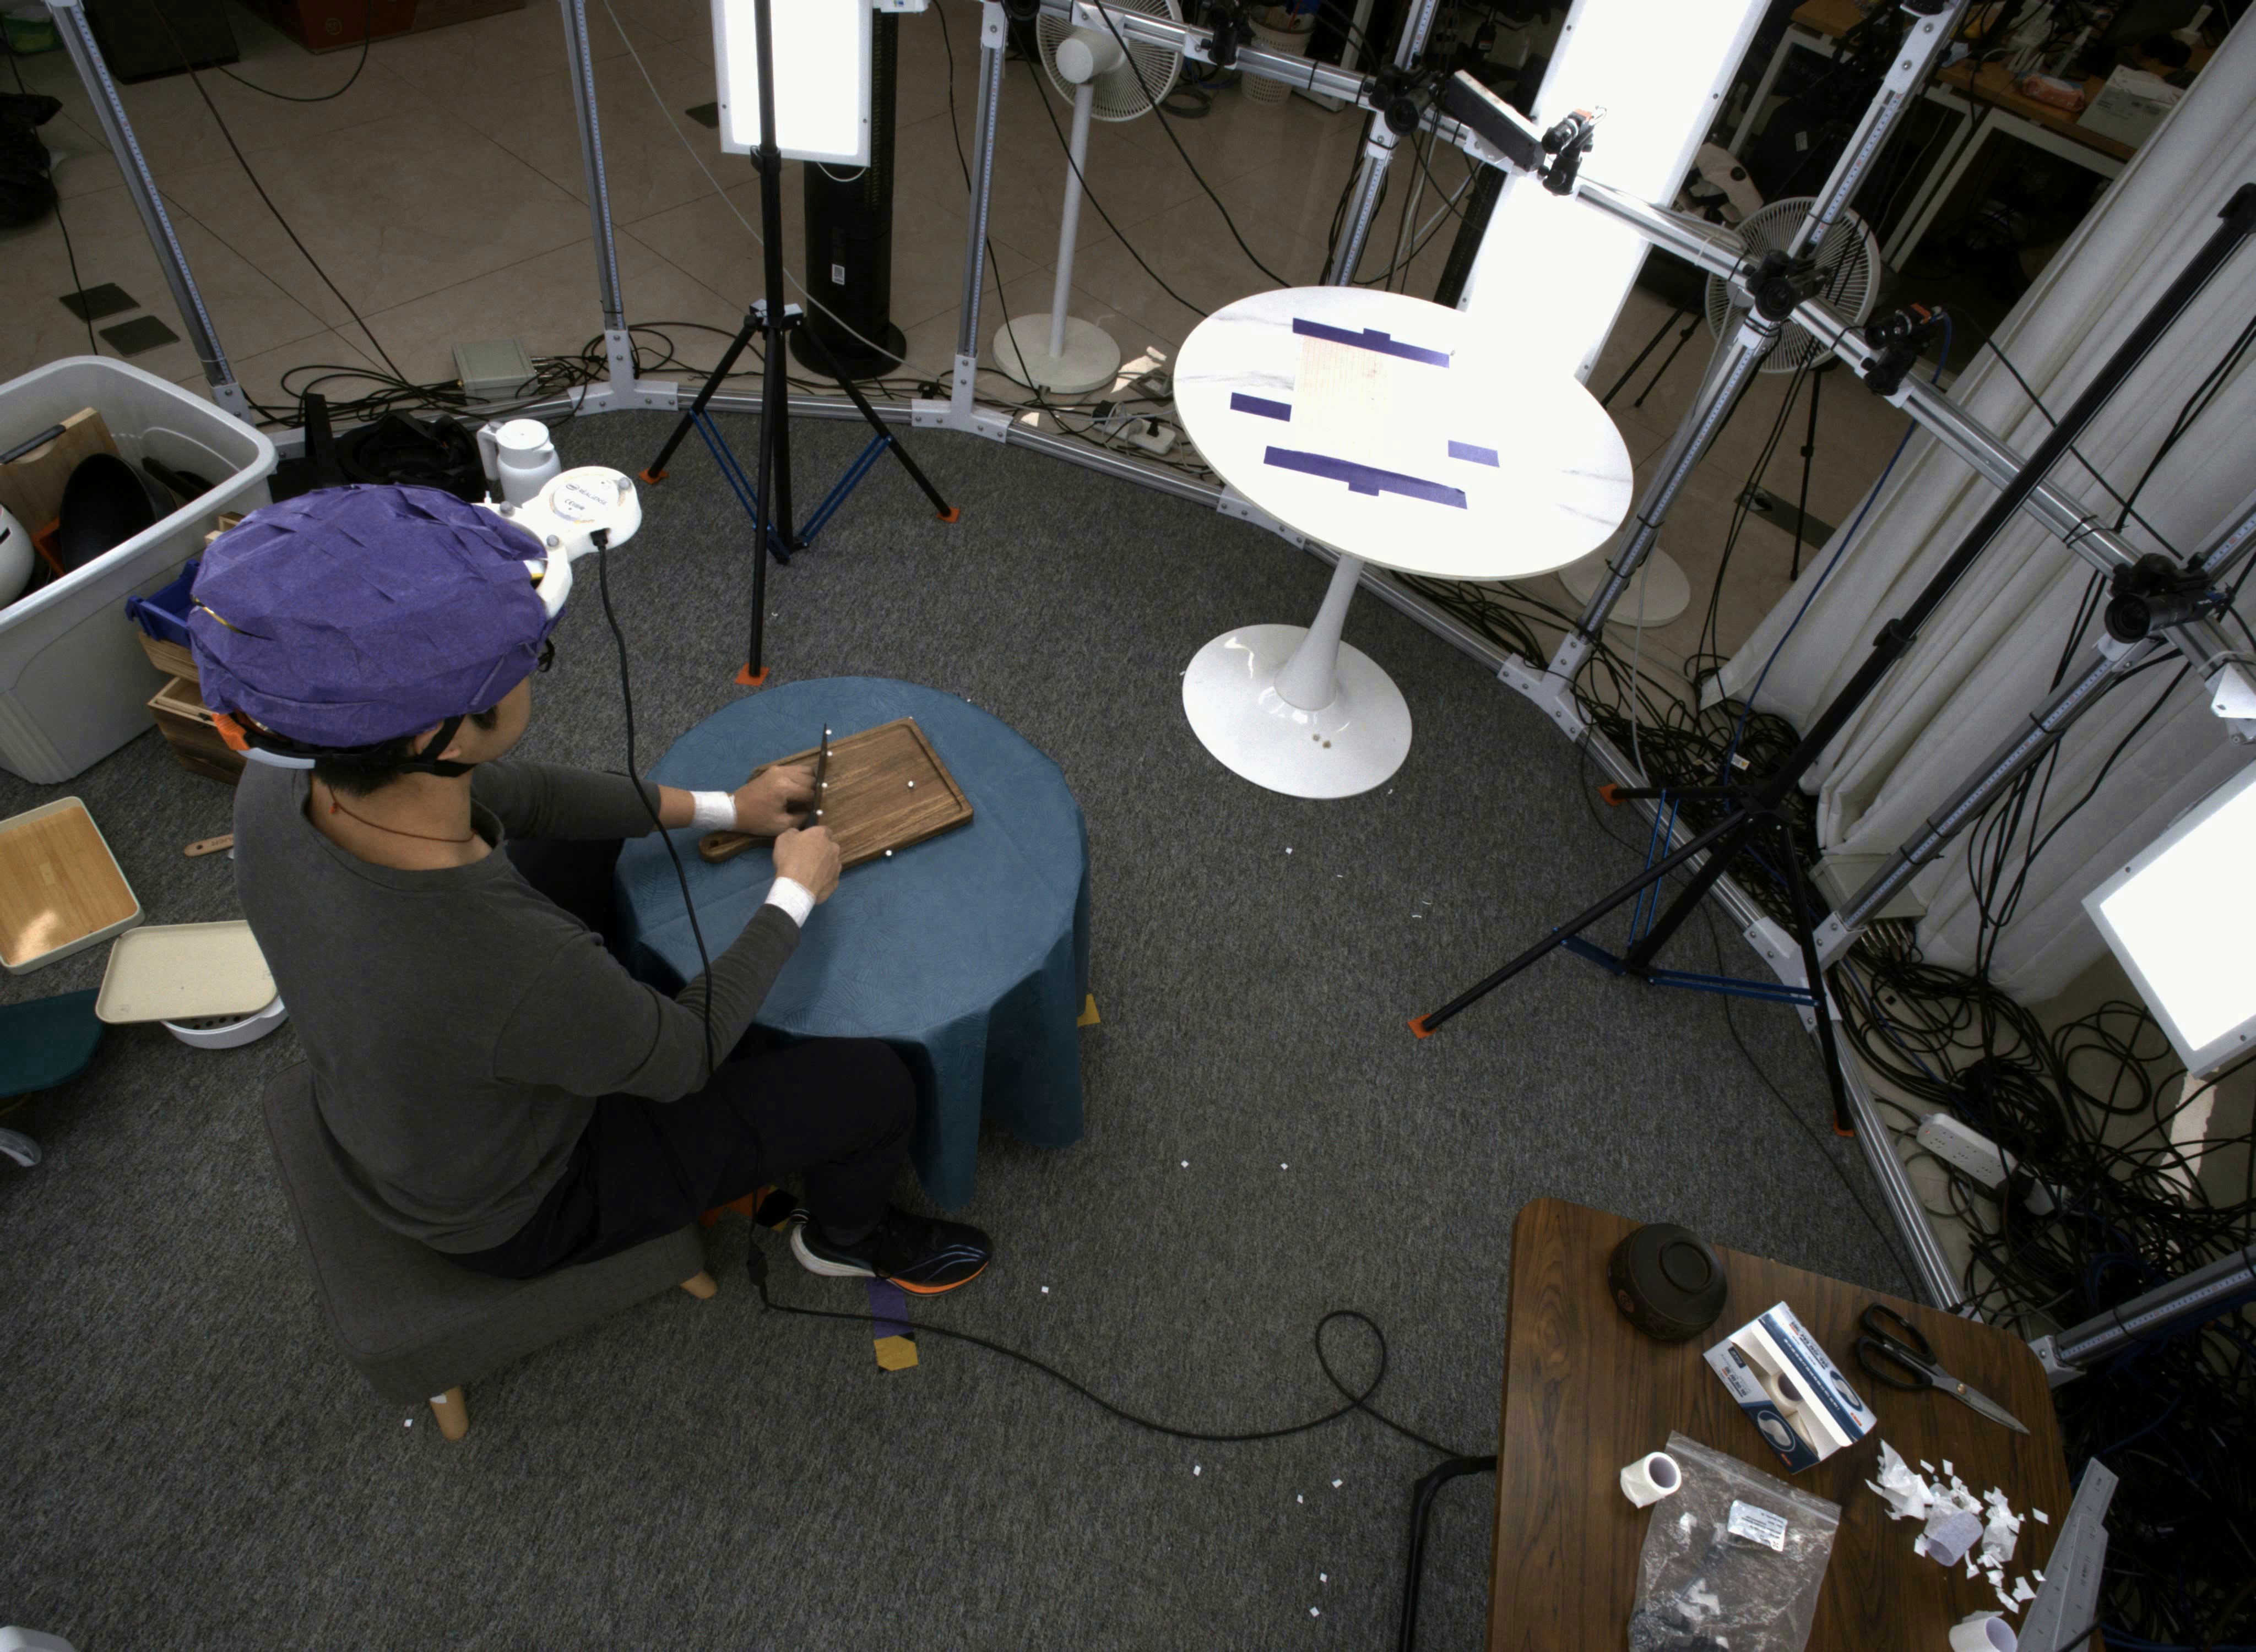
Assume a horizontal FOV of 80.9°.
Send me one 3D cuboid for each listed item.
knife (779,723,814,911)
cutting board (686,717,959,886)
[{"bbox_3d":[-0.422,-0.011,1.665,0.021,0.083,0.295,1,44,-7],"label":"knife"},{"bbox_3d":[-0.424,-0.023,1.738,0.354,0.023,0.196,-24,62,-28],"label":"cutting board"}]
